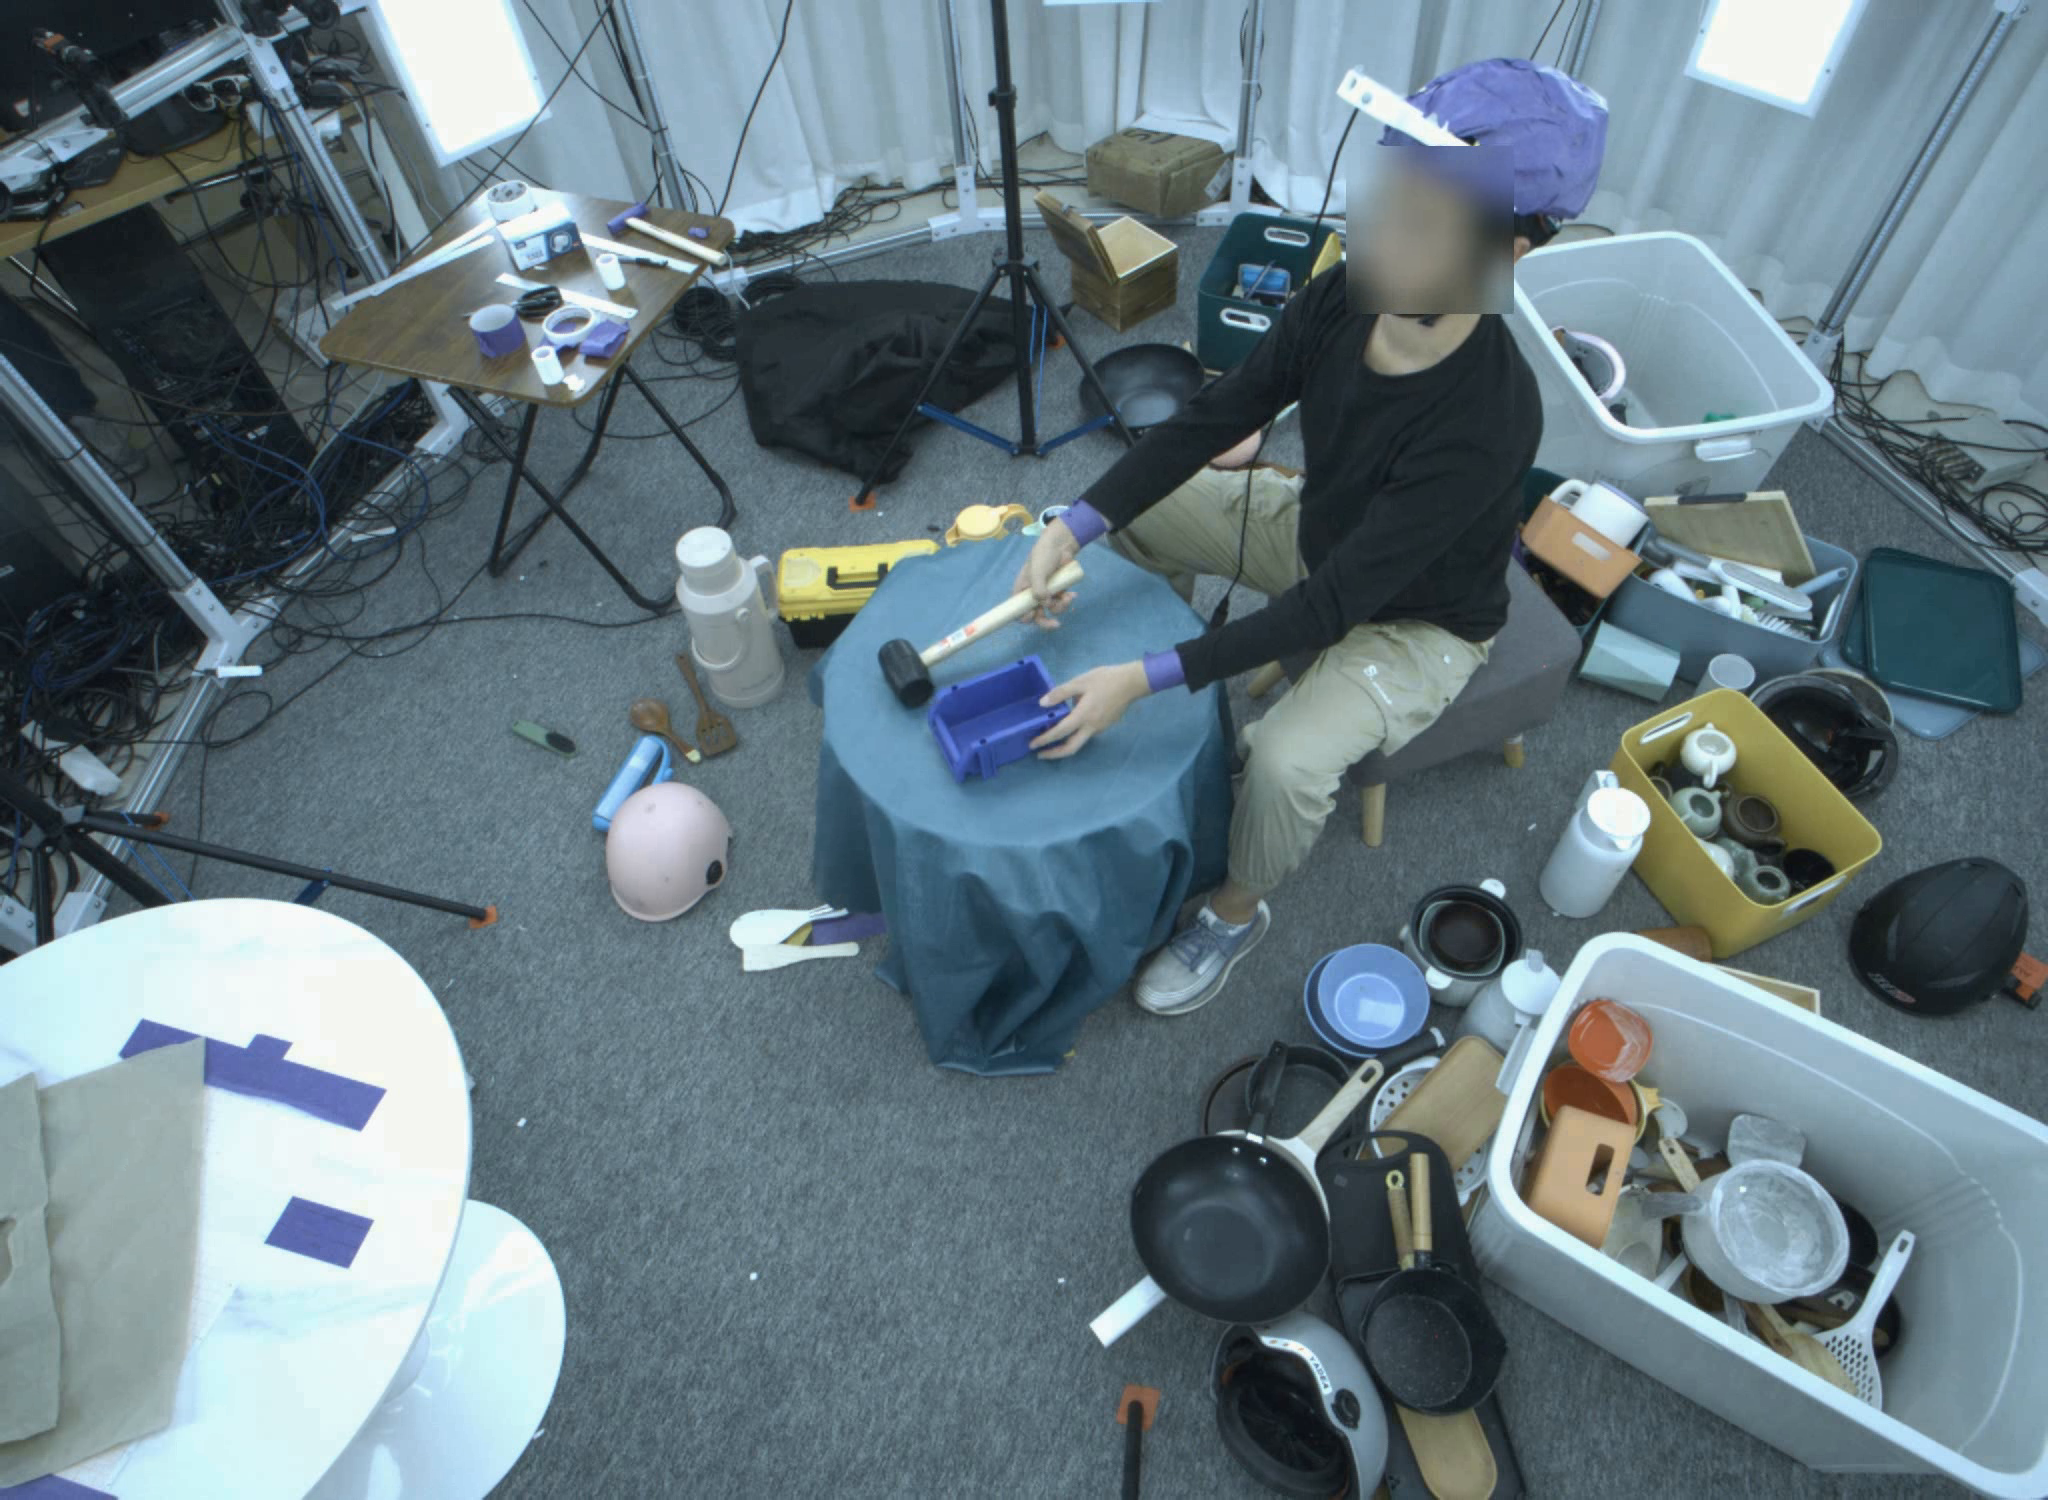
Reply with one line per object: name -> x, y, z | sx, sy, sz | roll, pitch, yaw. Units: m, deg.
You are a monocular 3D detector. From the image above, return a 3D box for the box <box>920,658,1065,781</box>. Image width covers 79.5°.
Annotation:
box -> -0.047, -0.038, 1.762 | 0.181, 0.082, 0.122 | -18, 56, -15

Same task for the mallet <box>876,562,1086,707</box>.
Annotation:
mallet -> -0.063, -0.190, 1.833 | 0.339, 0.065, 0.100 | -32, 57, 0
